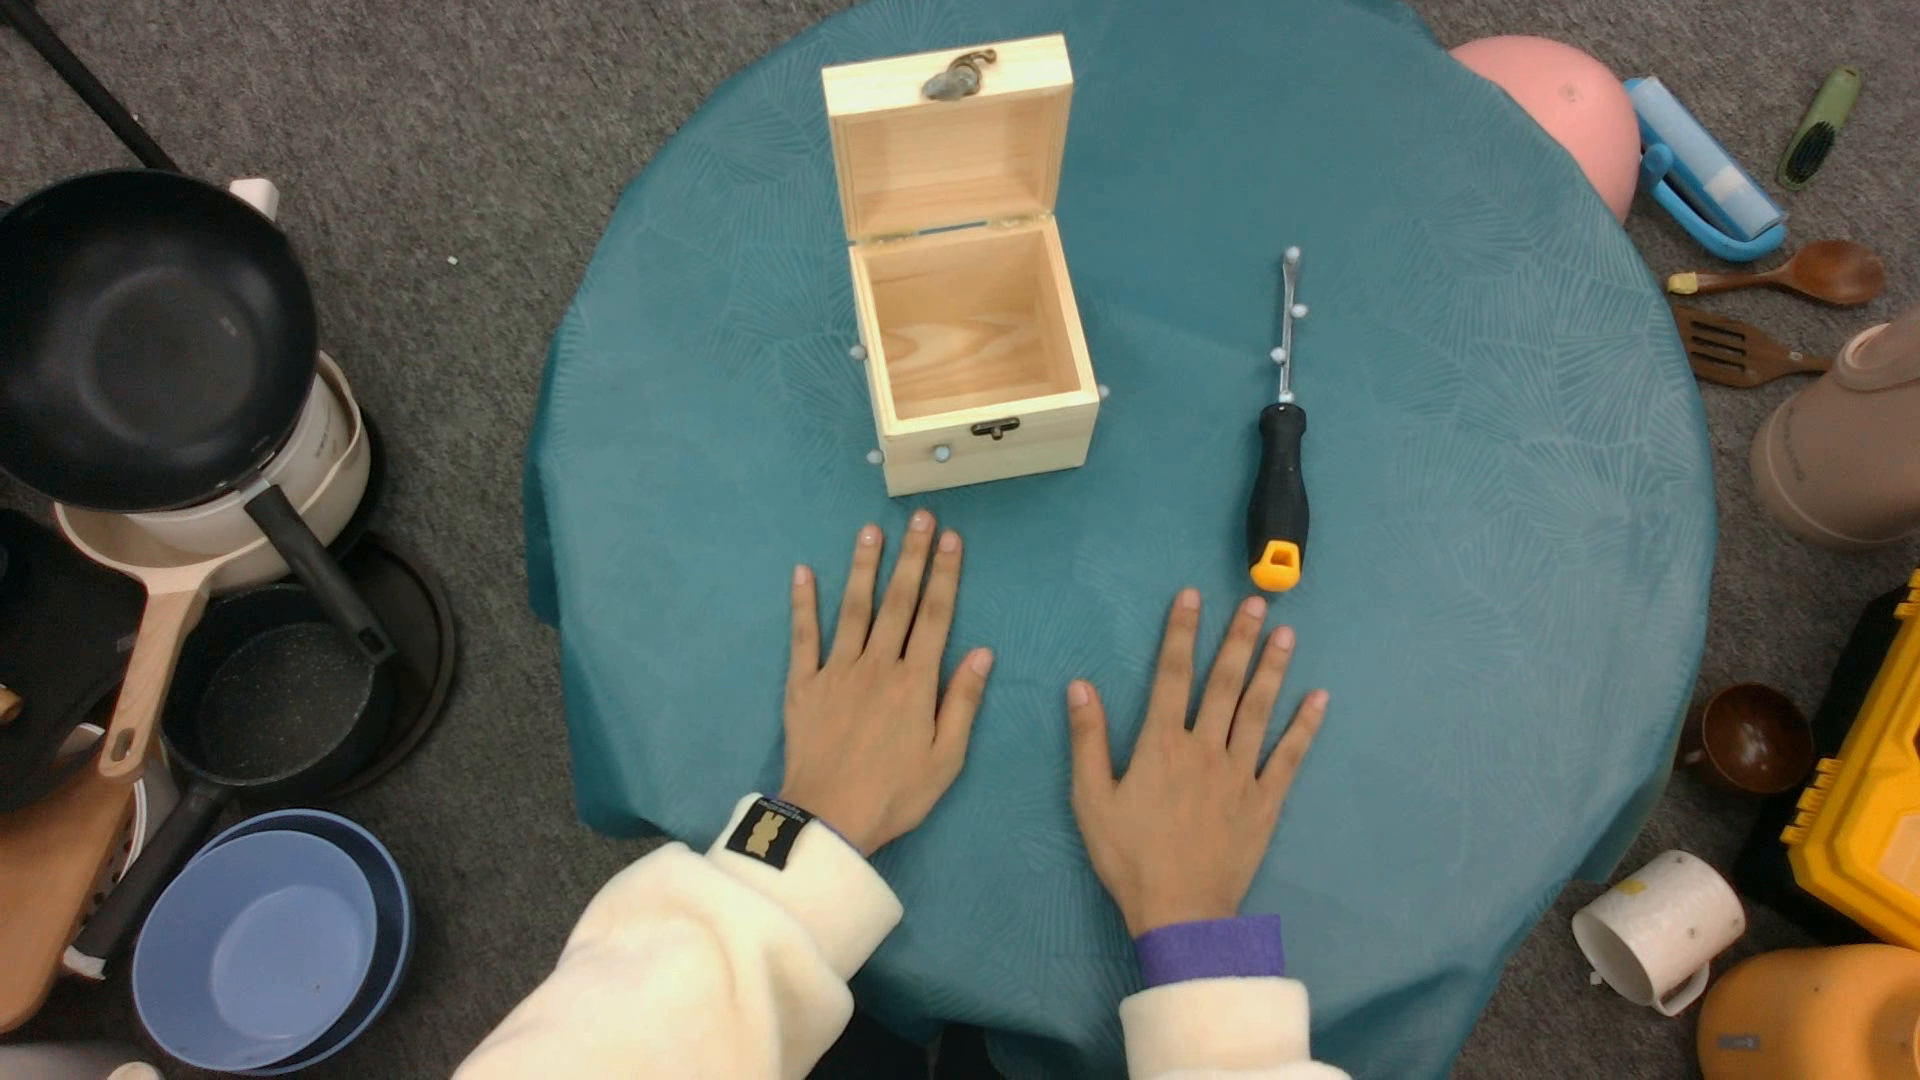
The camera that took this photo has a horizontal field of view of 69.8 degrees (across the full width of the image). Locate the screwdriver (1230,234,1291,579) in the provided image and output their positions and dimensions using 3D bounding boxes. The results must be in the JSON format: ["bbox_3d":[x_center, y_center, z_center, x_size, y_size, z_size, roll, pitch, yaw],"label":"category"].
[{"bbox_3d":[0.160,-0.073,0.704,0.031,0.031,0.198,10,68,2],"label":"screwdriver"}]

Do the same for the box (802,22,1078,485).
[{"bbox_3d":[-0.006,-0.121,0.629,0.102,0.184,0.134,-11,71,-6],"label":"box"}]
